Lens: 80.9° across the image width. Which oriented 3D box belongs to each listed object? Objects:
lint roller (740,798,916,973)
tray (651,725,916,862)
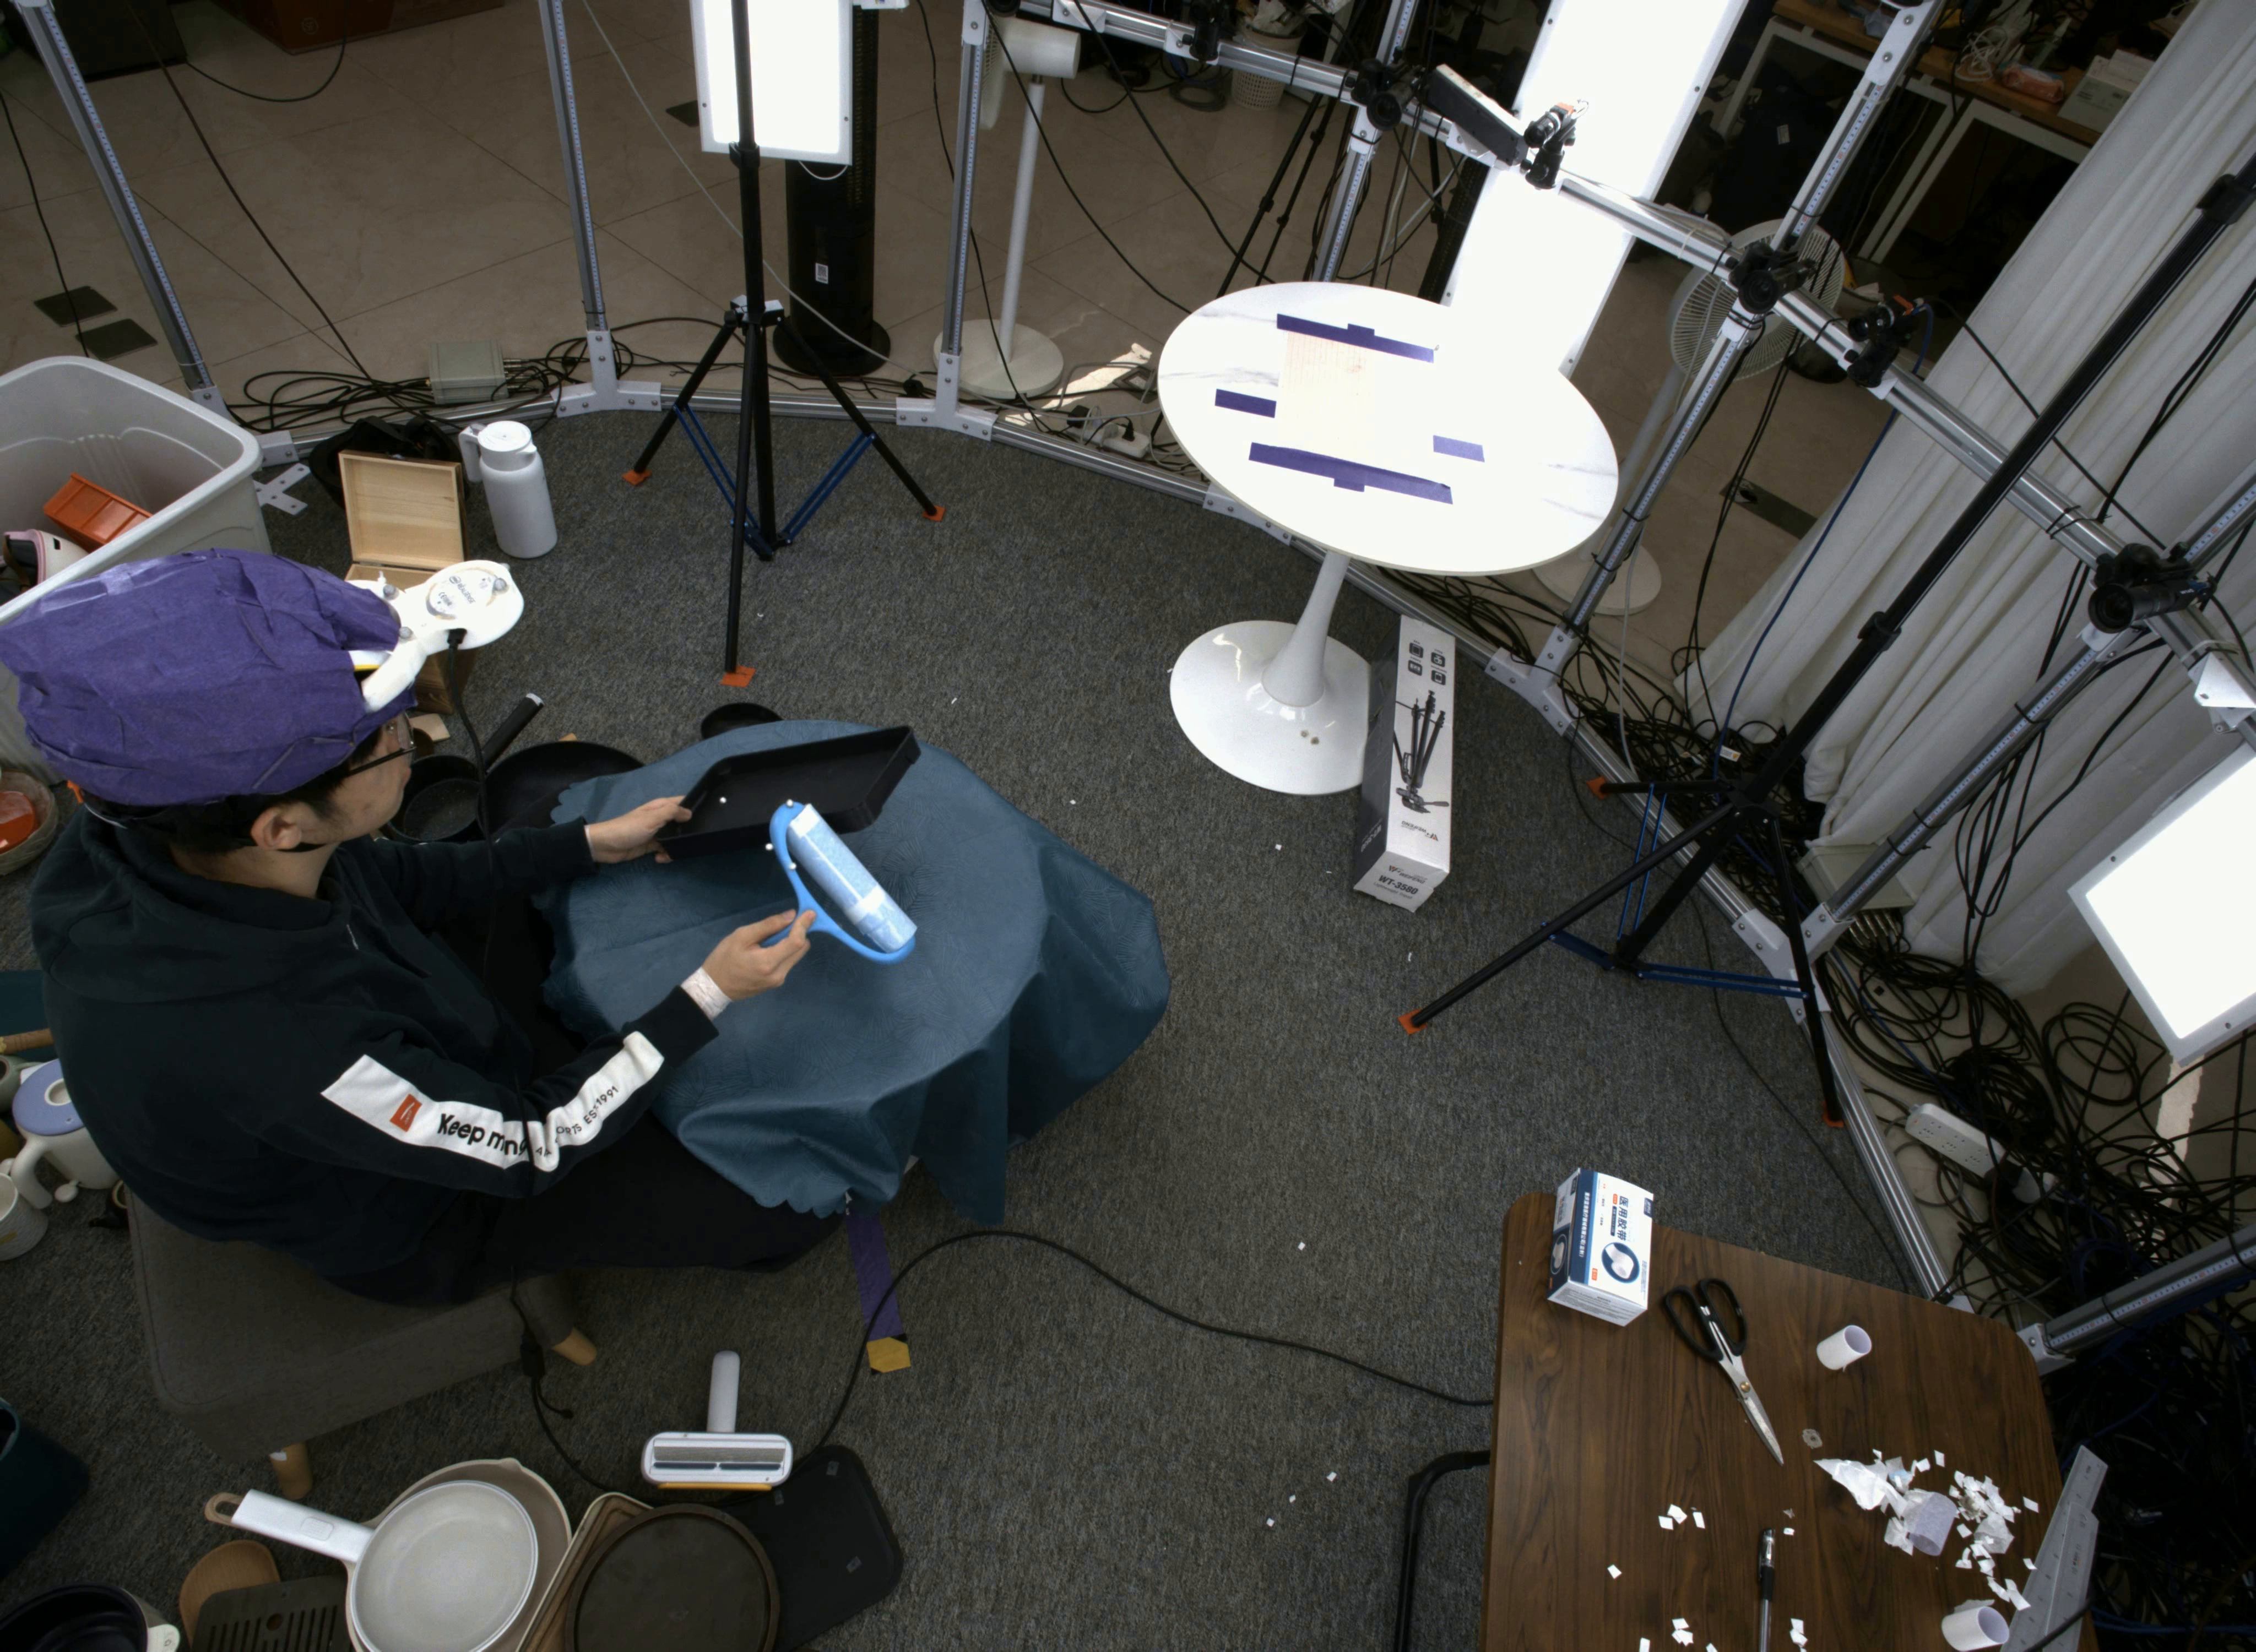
[{"bbox_3d":[-0.366,0.101,1.481,0.180,0.066,0.235,-47,111,-19],"label":"lint roller"},{"bbox_3d":[-0.428,-0.042,1.610,0.310,0.038,0.182,-7,36,20],"label":"tray"}]
